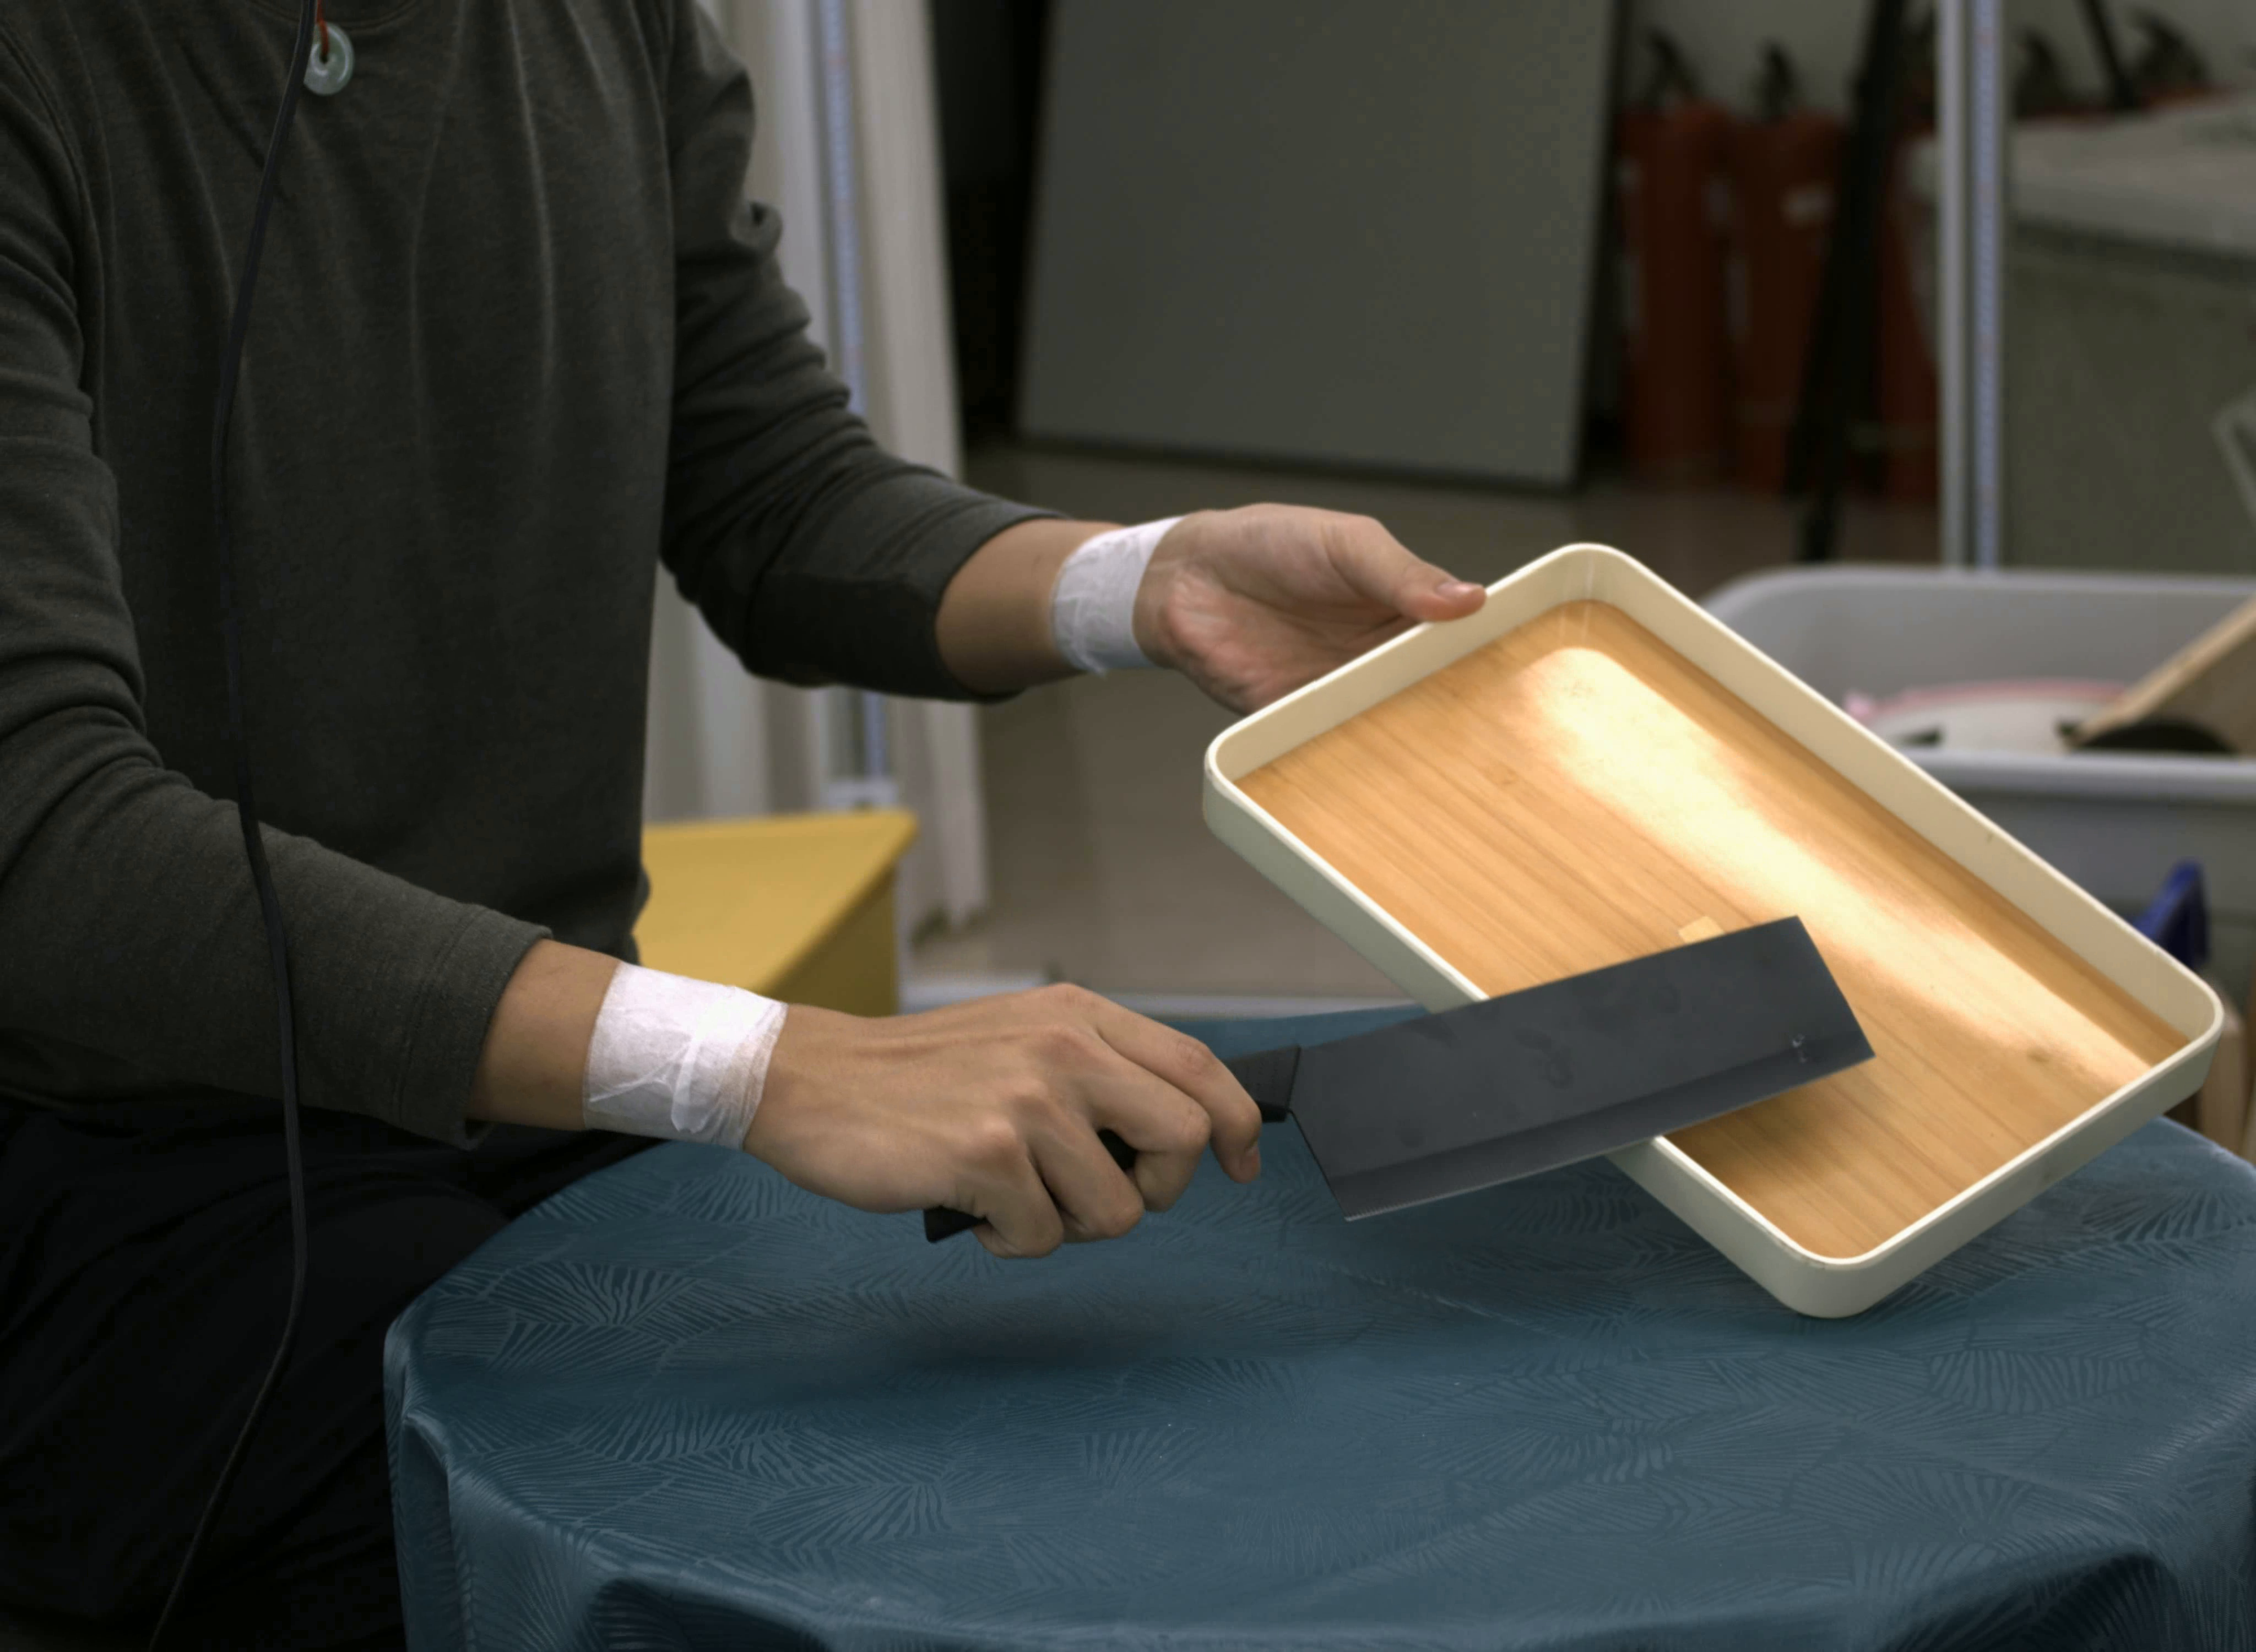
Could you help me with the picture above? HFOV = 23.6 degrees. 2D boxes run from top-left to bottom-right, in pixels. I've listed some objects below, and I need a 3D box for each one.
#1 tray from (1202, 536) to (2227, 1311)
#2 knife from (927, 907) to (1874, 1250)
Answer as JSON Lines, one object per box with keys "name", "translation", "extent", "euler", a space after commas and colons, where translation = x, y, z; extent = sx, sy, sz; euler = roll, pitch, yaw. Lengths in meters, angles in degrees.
{"name": "tray", "translation": [0.183, 0.024, 1.722], "extent": [0.188, 0.027, 0.303], "euler": [-28, 50, -29]}
{"name": "knife", "translation": [0.081, 0.083, 1.635], "extent": [0.297, 0.021, 0.082], "euler": [-12, 49, -10]}
